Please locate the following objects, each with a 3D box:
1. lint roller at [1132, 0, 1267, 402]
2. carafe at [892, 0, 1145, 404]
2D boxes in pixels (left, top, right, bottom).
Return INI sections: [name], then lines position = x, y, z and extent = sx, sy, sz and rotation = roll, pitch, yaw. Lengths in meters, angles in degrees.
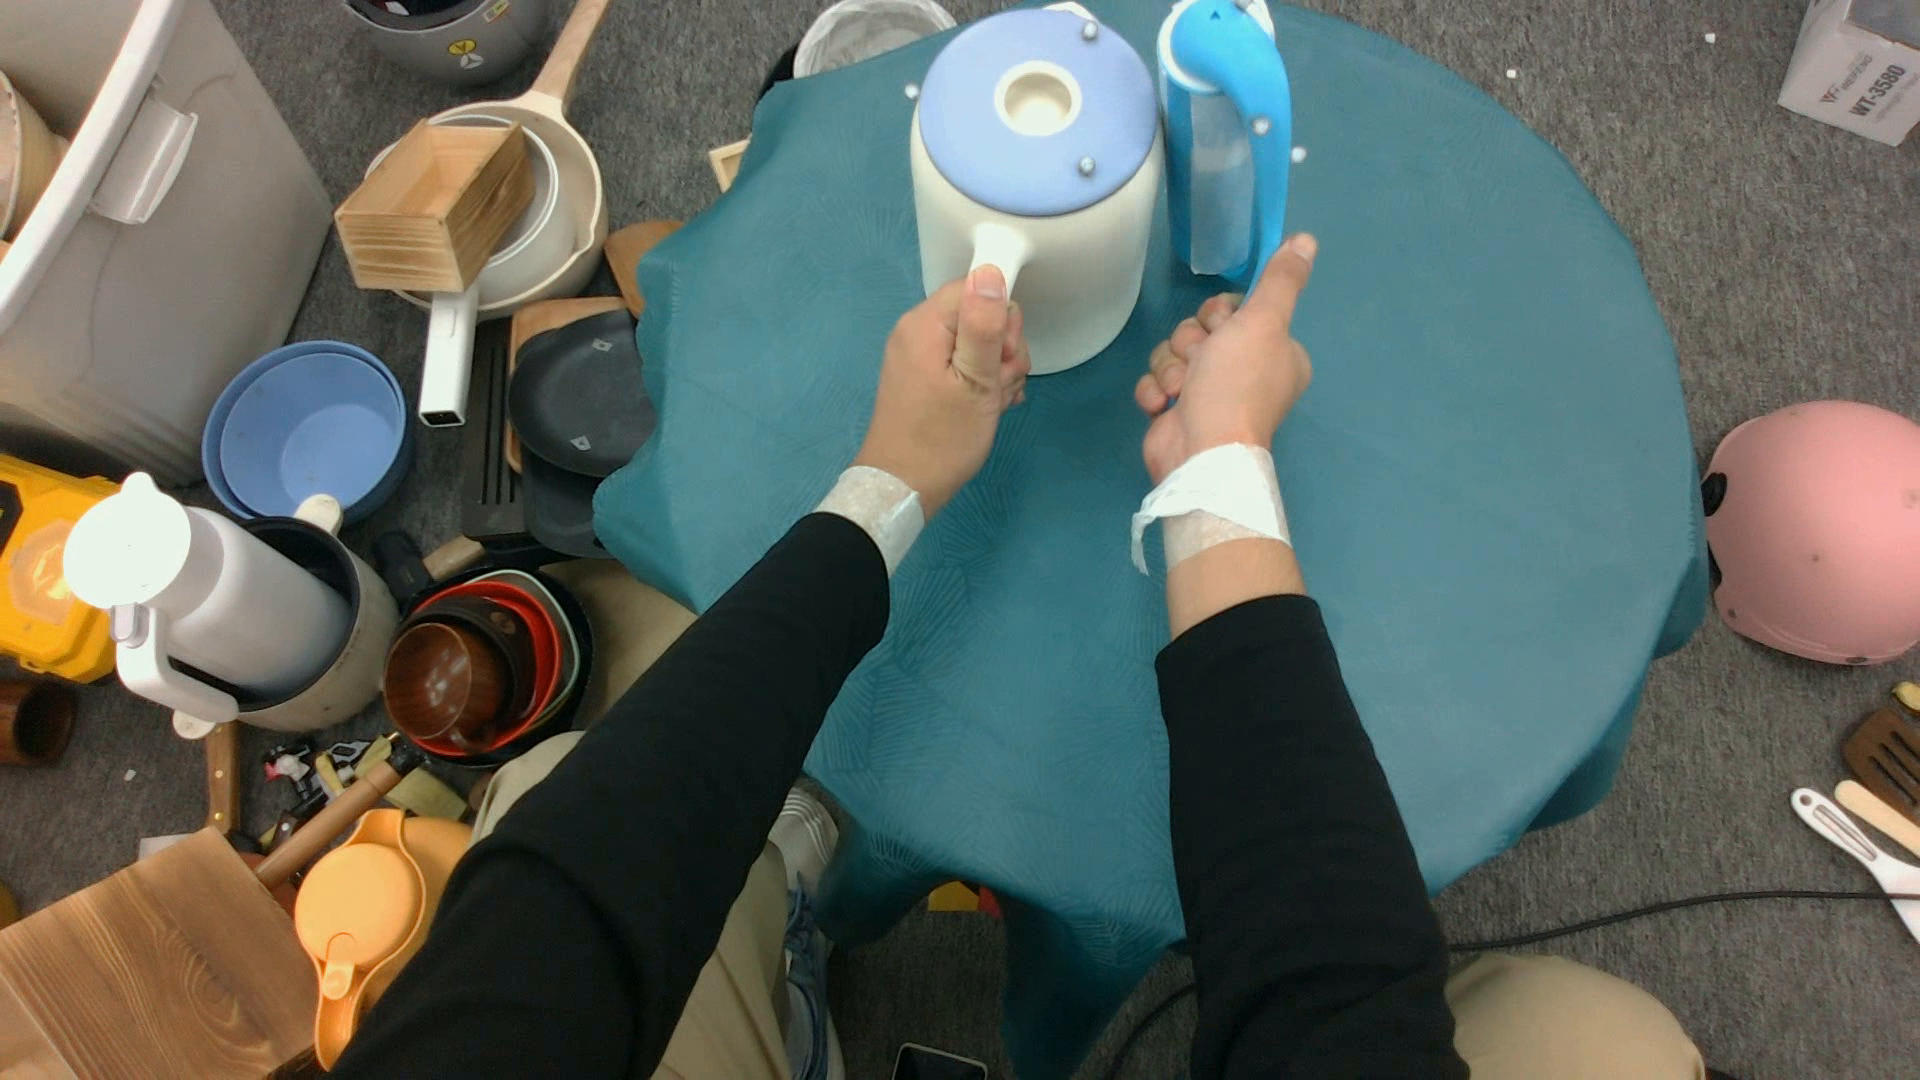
[lint roller]
position = 0.124, -0.159, 0.718
extent = 0.068, 0.228, 0.180
rotation = -3, 77, 7
[carafe]
position = 0.024, -0.170, 0.750
extent = 0.132, 0.182, 0.191
rotation = 13, 74, 6
